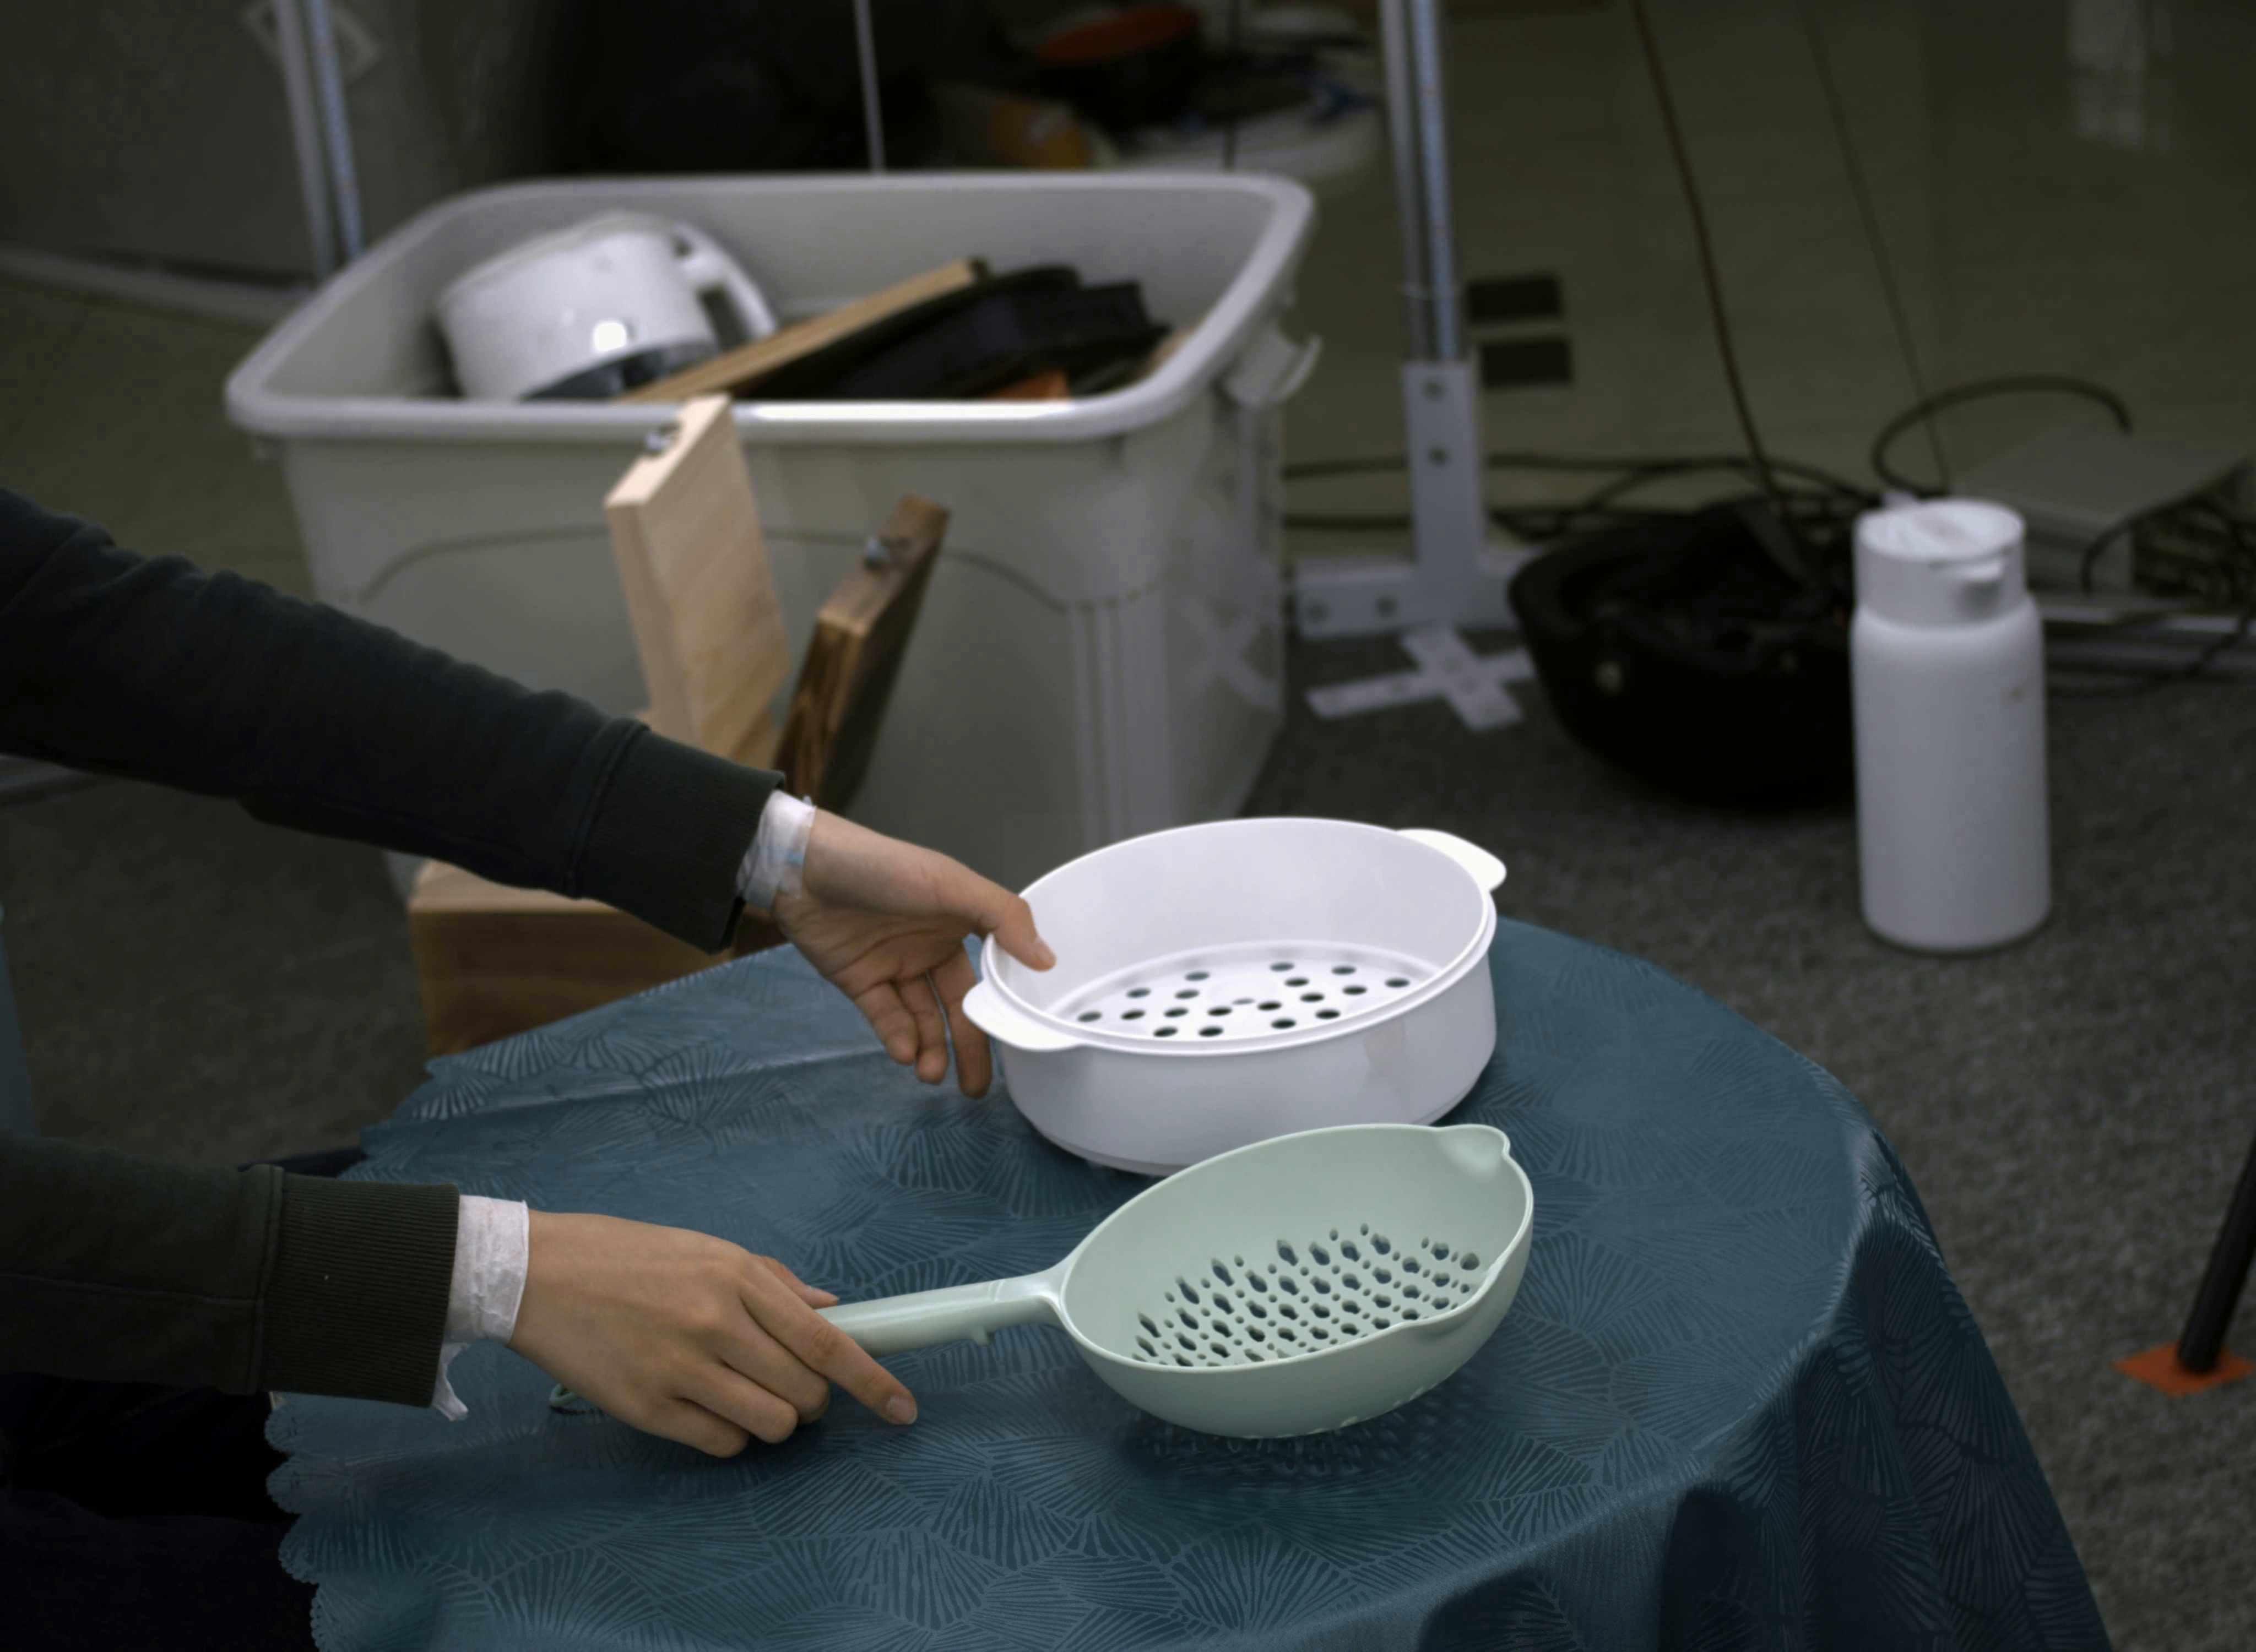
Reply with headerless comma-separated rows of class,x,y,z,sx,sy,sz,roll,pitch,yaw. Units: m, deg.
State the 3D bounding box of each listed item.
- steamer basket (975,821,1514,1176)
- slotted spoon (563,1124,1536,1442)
steamer basket,0.050,0.068,2.214,0.229,0.070,0.200,-20,28,-27
slotted spoon,-0.032,0.173,2.010,0.358,0.076,0.167,-2,25,10
